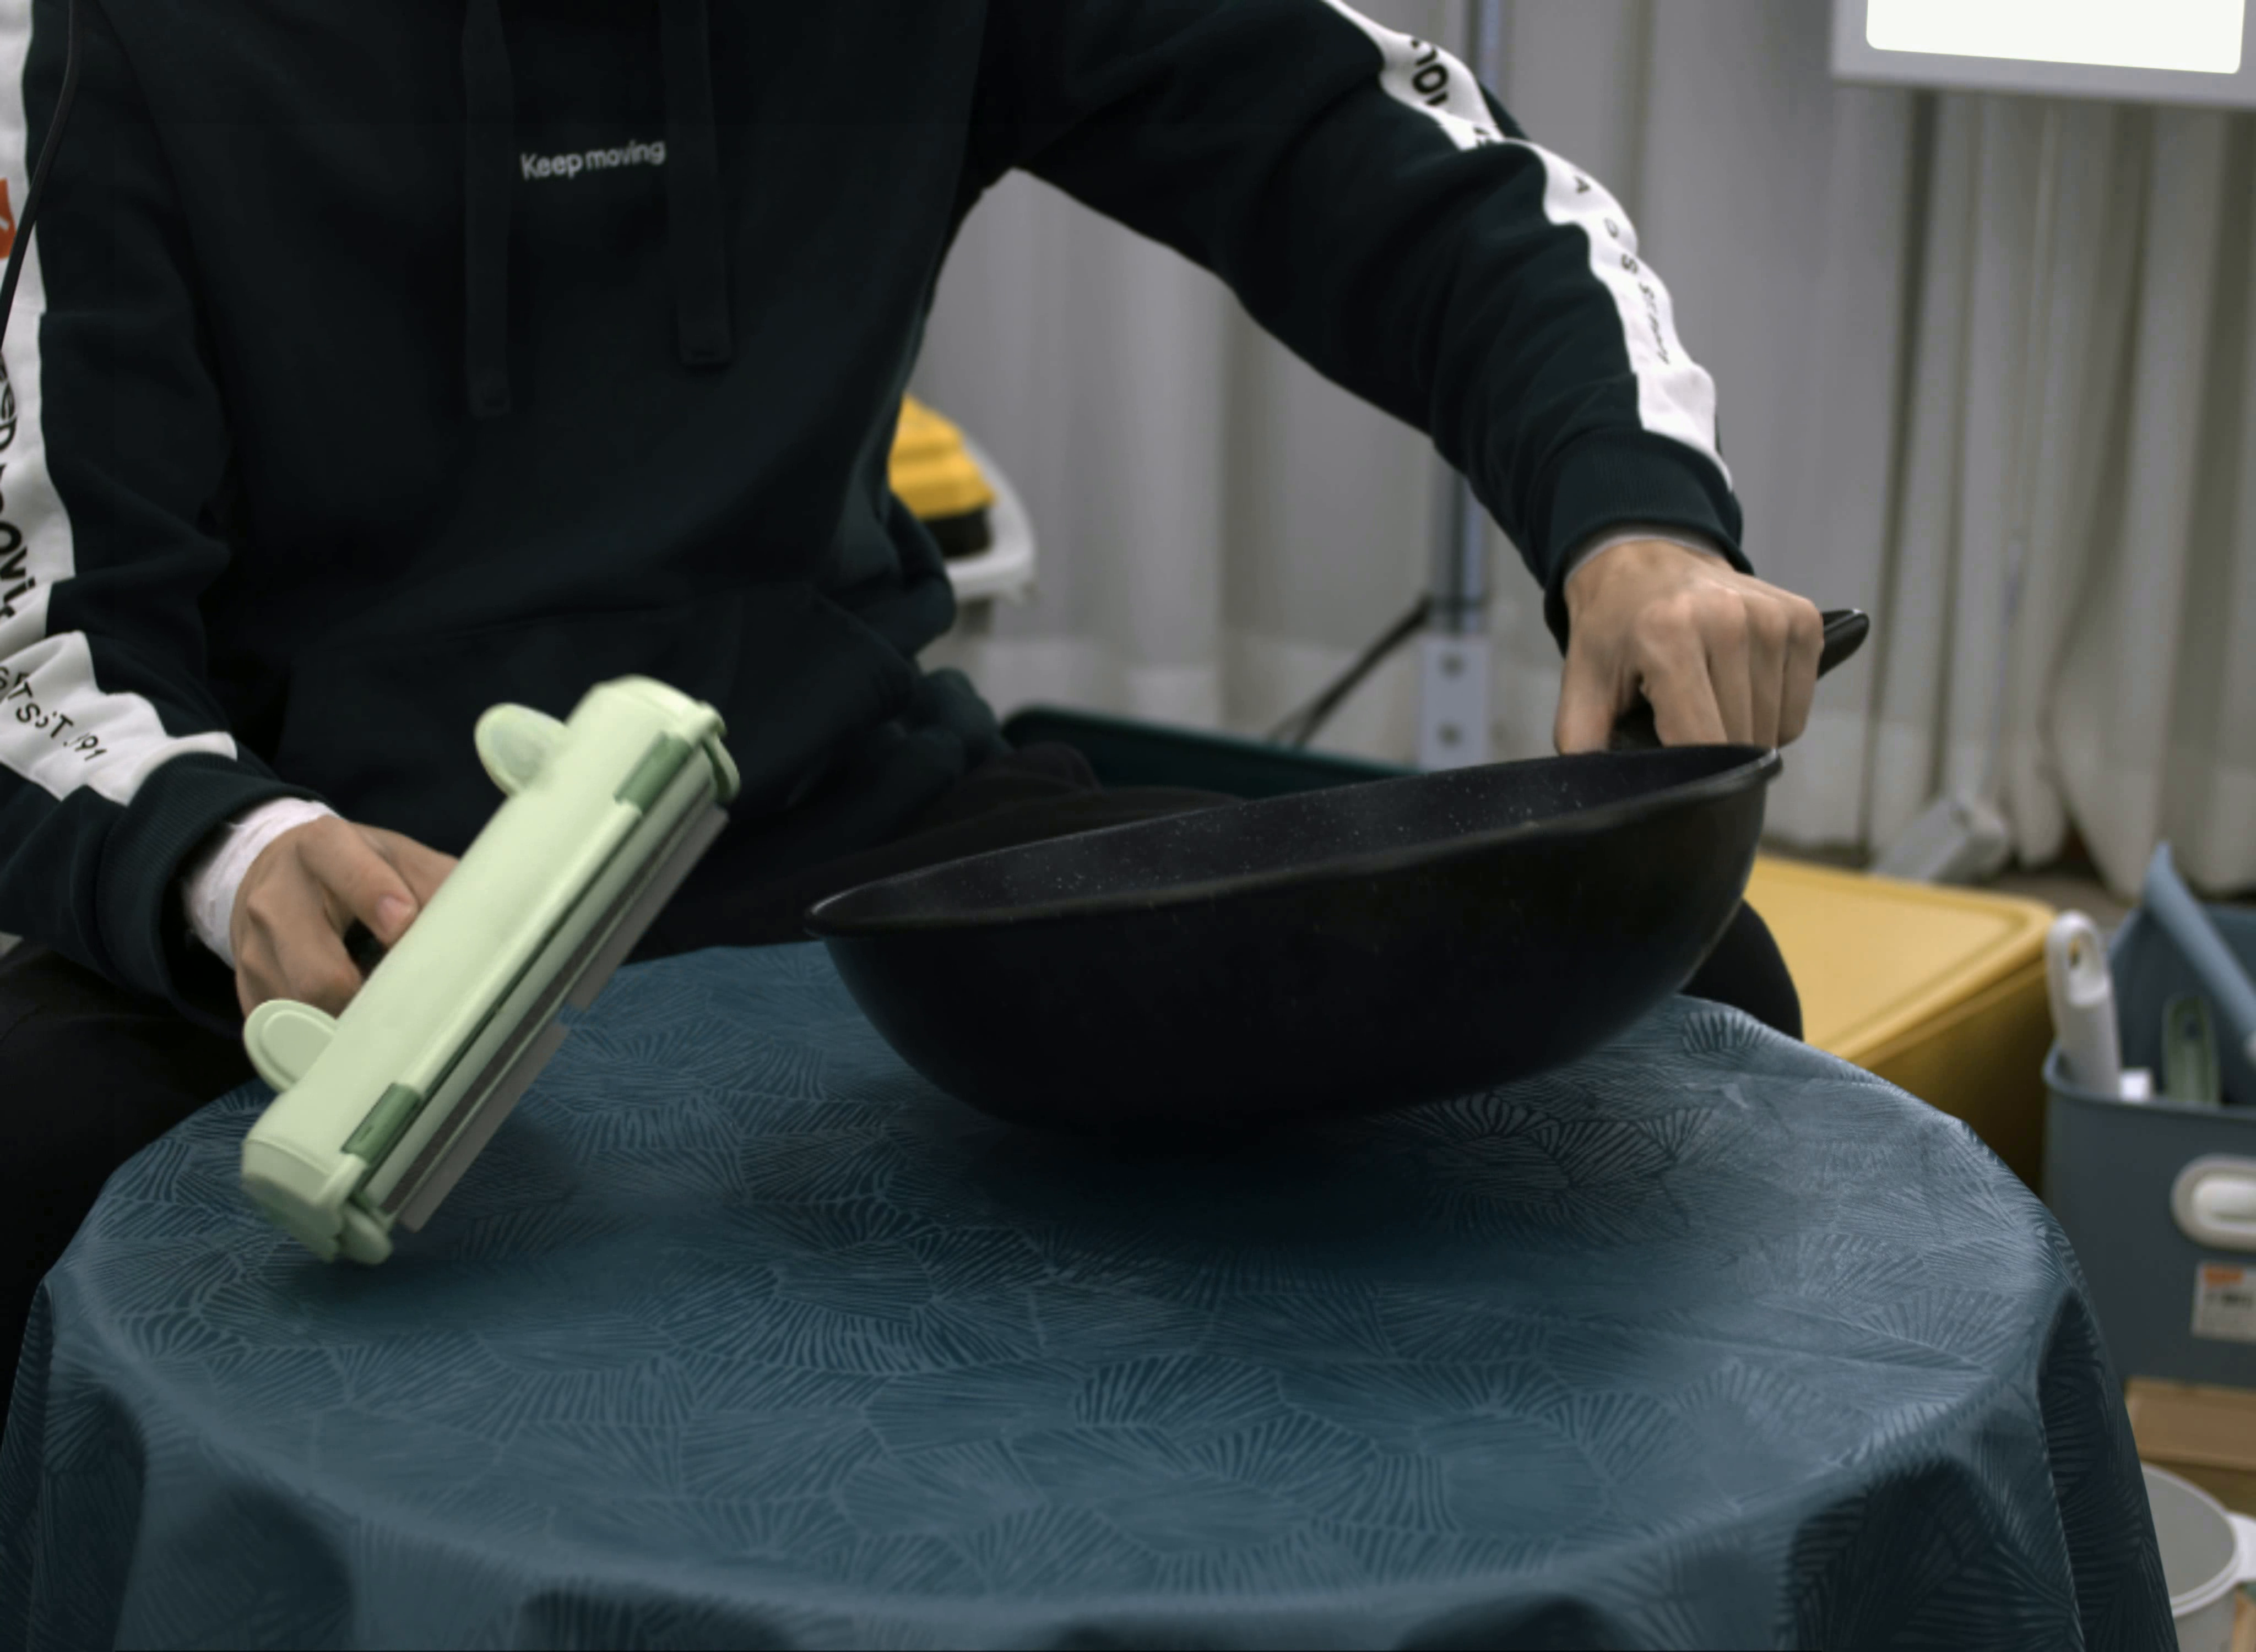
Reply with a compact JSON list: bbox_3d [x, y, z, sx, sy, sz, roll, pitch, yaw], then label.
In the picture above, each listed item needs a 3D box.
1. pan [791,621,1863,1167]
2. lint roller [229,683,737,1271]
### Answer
[{"bbox_3d":[0.106,0.022,1.696,0.307,0.112,0.479,-3,8,40],"label":"pan"},{"bbox_3d":[-0.225,0.037,1.601,0.181,0.083,0.198,3,50,55],"label":"lint roller"}]
